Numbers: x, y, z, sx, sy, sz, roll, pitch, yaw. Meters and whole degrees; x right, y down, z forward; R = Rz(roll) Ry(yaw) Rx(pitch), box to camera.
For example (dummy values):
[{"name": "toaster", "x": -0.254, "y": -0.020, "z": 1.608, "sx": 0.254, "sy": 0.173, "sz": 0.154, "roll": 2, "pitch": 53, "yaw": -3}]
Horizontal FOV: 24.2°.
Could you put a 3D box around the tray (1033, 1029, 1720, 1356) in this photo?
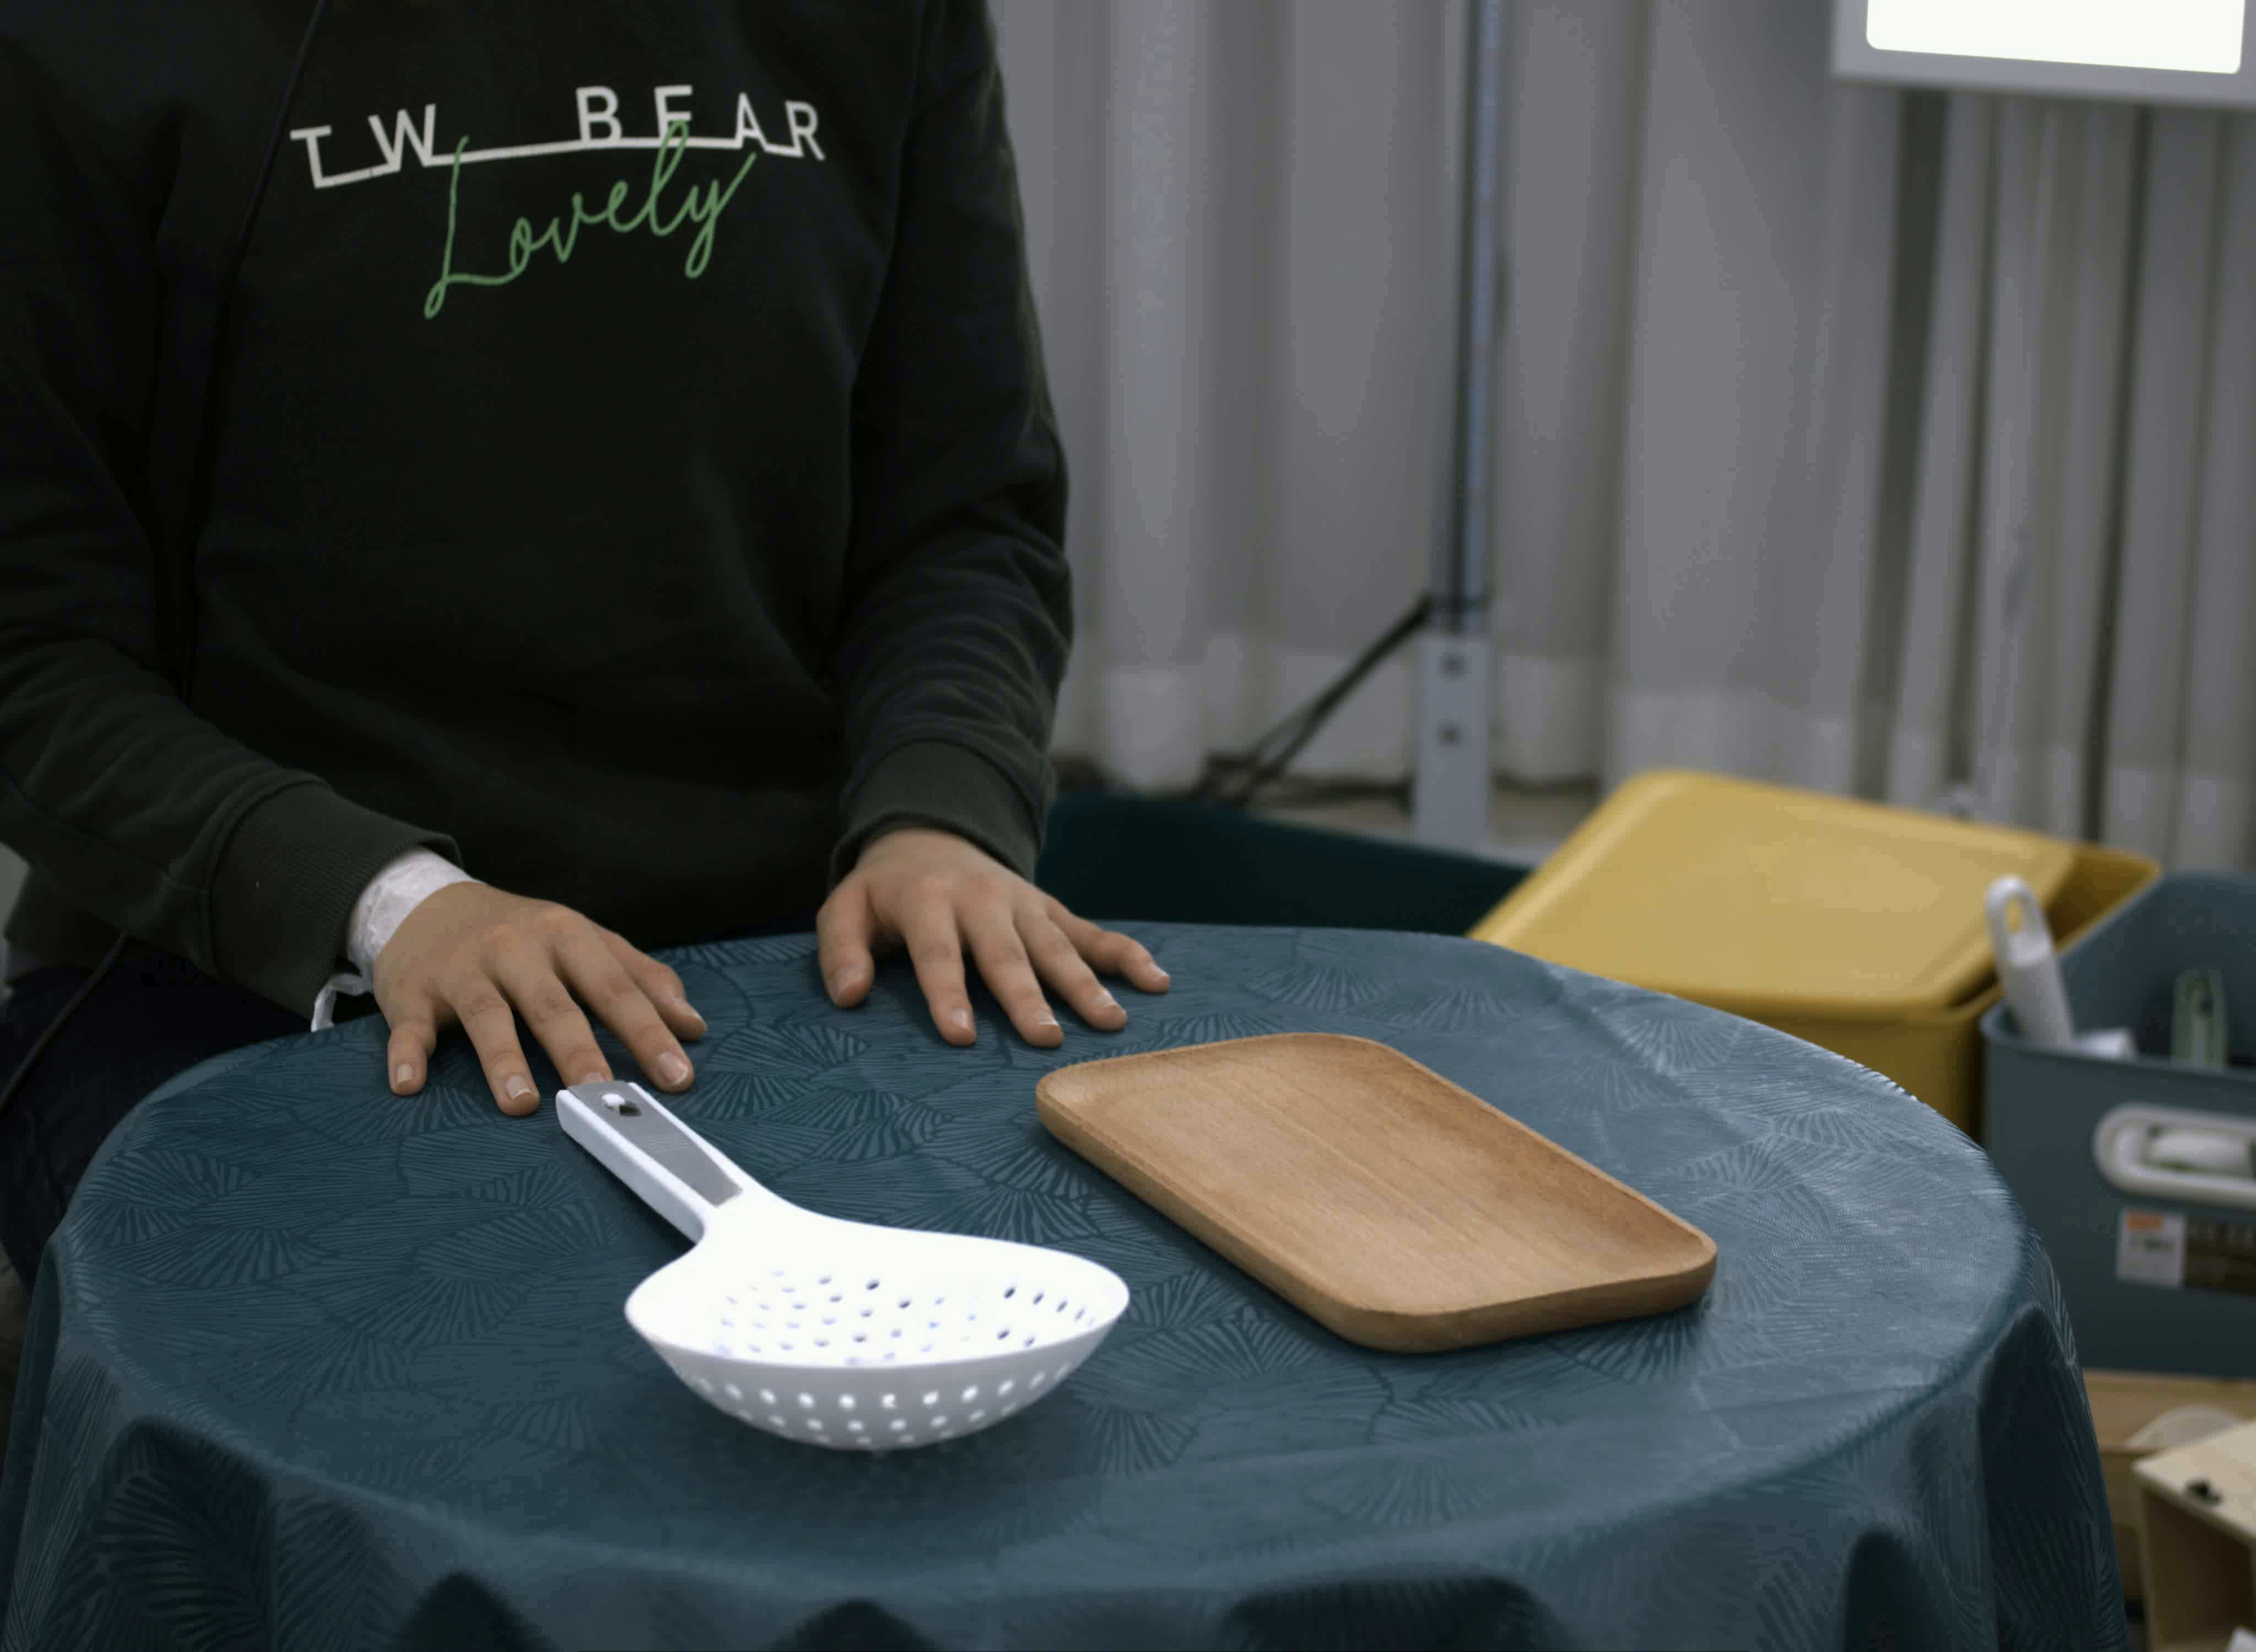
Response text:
[{"name": "tray", "x": 0.071, "y": 0.109, "z": 1.612, "sx": 0.131, "sy": 0.023, "sz": 0.247, "roll": -5, "pitch": 16, "yaw": -25}]

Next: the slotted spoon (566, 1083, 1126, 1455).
[{"name": "slotted spoon", "x": -0.107, "y": 0.118, "z": 1.520, "sx": 0.136, "sy": 0.046, "sz": 0.346, "roll": -3, "pitch": 15, "yaw": -21}]
